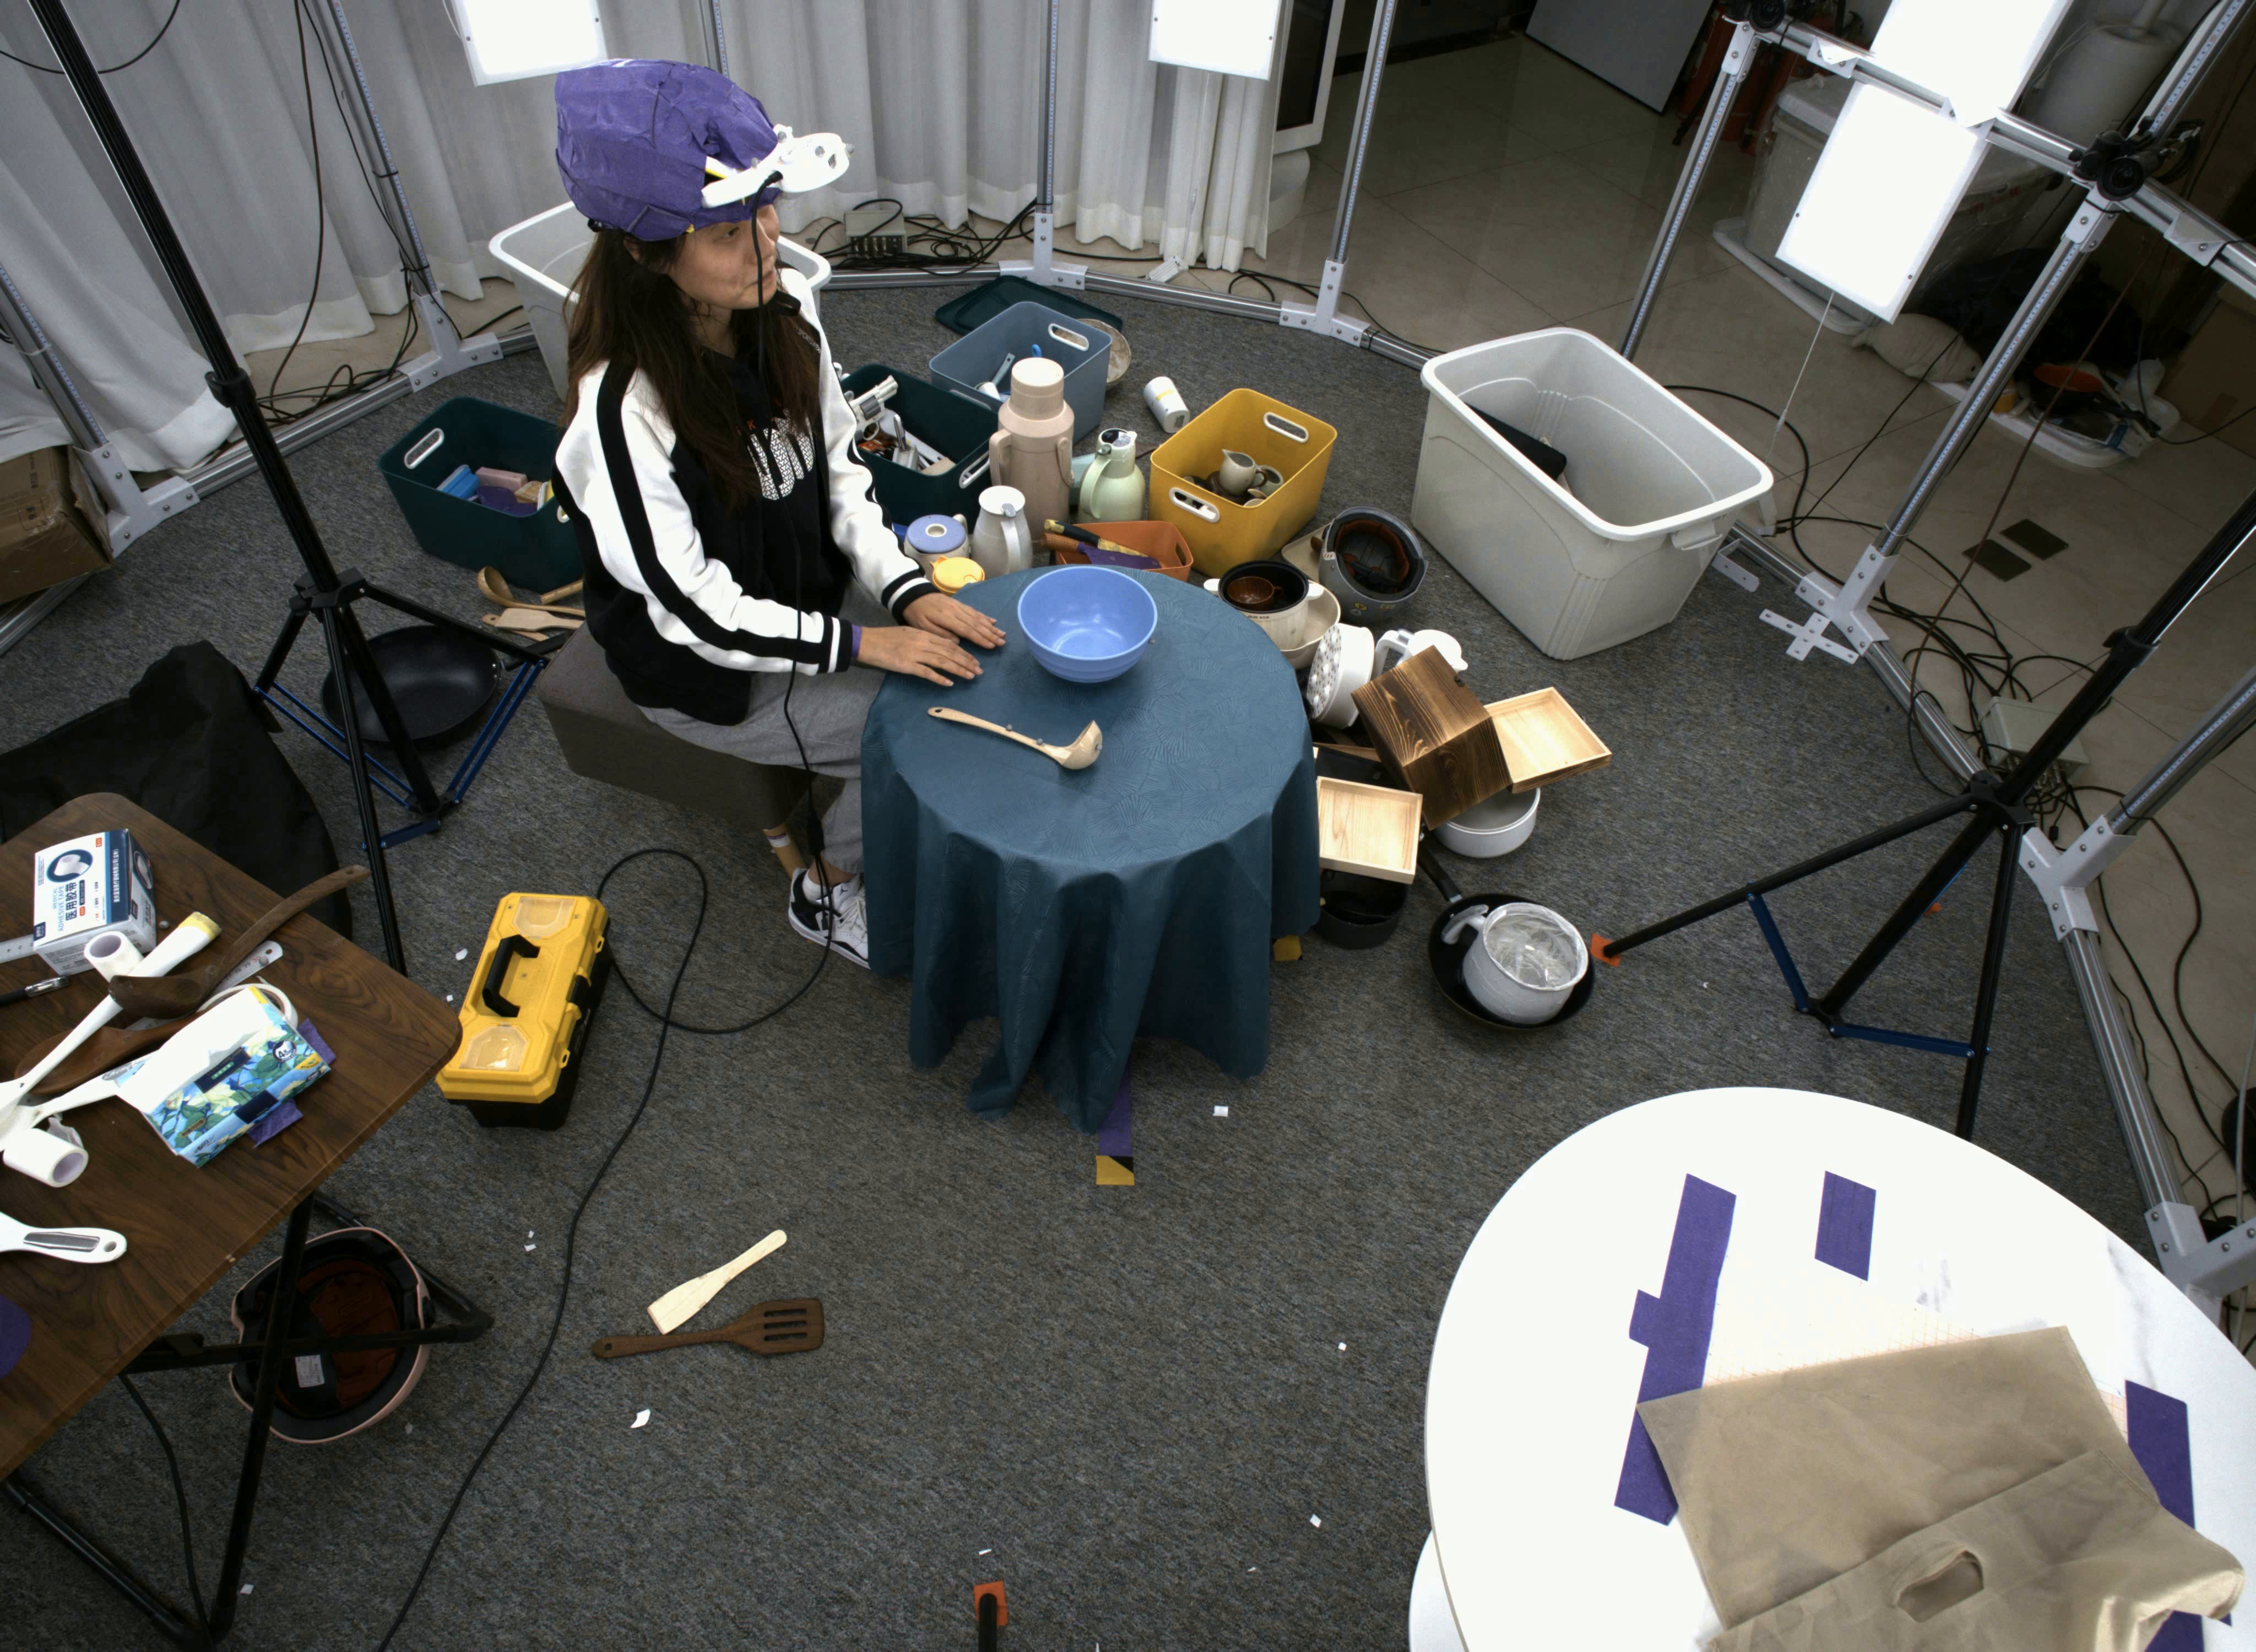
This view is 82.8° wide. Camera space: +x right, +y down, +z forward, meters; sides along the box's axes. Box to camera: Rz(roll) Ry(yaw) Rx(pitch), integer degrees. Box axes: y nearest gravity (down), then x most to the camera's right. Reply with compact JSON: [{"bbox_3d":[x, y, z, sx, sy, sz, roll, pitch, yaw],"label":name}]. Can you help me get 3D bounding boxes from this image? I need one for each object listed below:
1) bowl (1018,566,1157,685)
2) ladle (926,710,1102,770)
[{"bbox_3d":[-0.059,-0.272,1.844,0.196,0.093,0.201,2,51,-2],"label":"bowl"},{"bbox_3d":[-0.159,-0.141,1.734,0.255,0.071,0.073,18,49,11],"label":"ladle"}]
